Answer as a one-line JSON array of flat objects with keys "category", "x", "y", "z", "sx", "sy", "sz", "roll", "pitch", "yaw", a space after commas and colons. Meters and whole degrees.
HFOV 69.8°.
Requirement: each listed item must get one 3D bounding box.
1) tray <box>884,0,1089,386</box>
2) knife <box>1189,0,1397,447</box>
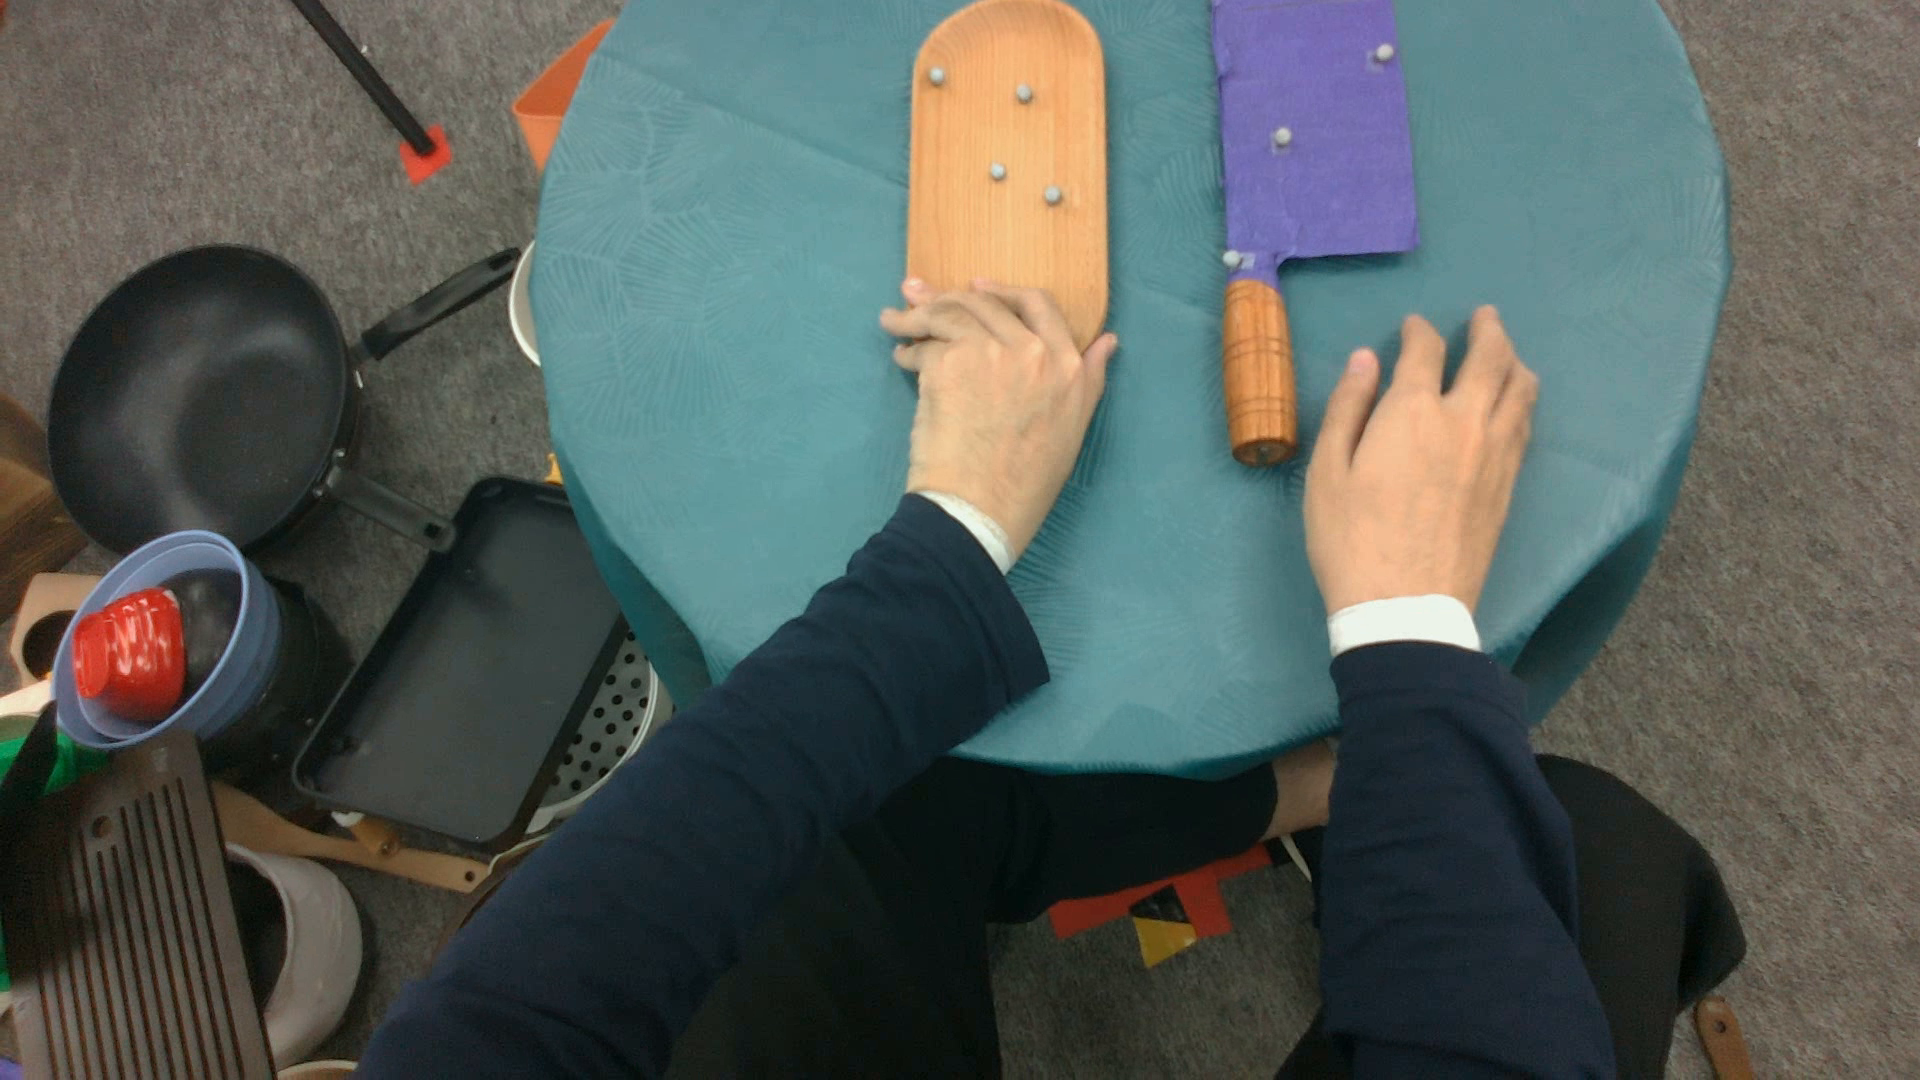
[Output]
[{"category": "tray", "x": 0.015, "y": -0.184, "z": 0.695, "sx": 0.101, "sy": 0.020, "sz": 0.232, "roll": -3, "pitch": 72, "yaw": 12}, {"category": "knife", "x": 0.163, "y": -0.196, "z": 0.677, "sx": 0.104, "sy": 0.032, "sz": 0.316, "roll": -3, "pitch": 70, "yaw": 6}]
